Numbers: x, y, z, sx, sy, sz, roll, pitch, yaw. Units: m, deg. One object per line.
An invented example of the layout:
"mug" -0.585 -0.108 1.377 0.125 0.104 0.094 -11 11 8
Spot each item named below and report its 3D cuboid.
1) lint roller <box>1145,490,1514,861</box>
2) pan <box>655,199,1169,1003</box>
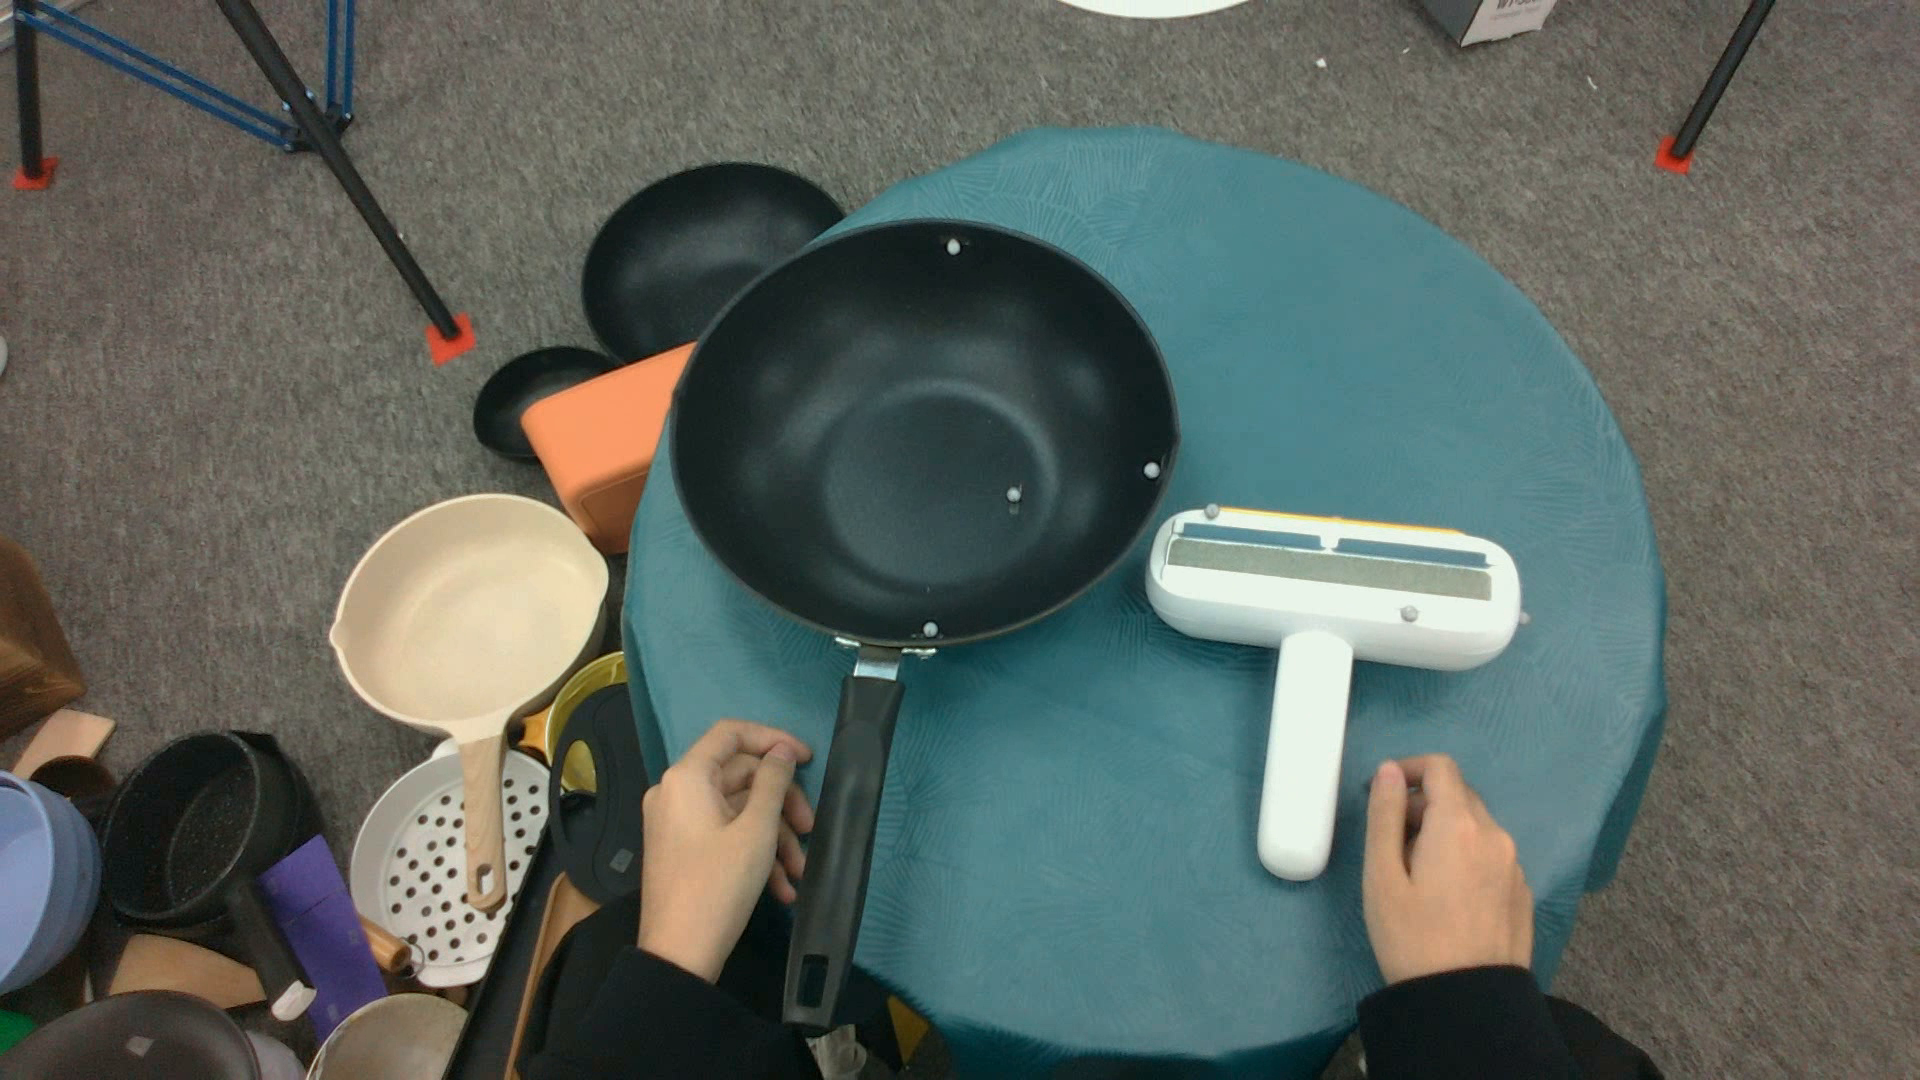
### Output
"lint roller" 0.180 0.072 0.727 0.193 0.074 0.193 12 65 14
"pan" -0.040 0.019 0.754 0.288 0.086 0.465 7 63 5
